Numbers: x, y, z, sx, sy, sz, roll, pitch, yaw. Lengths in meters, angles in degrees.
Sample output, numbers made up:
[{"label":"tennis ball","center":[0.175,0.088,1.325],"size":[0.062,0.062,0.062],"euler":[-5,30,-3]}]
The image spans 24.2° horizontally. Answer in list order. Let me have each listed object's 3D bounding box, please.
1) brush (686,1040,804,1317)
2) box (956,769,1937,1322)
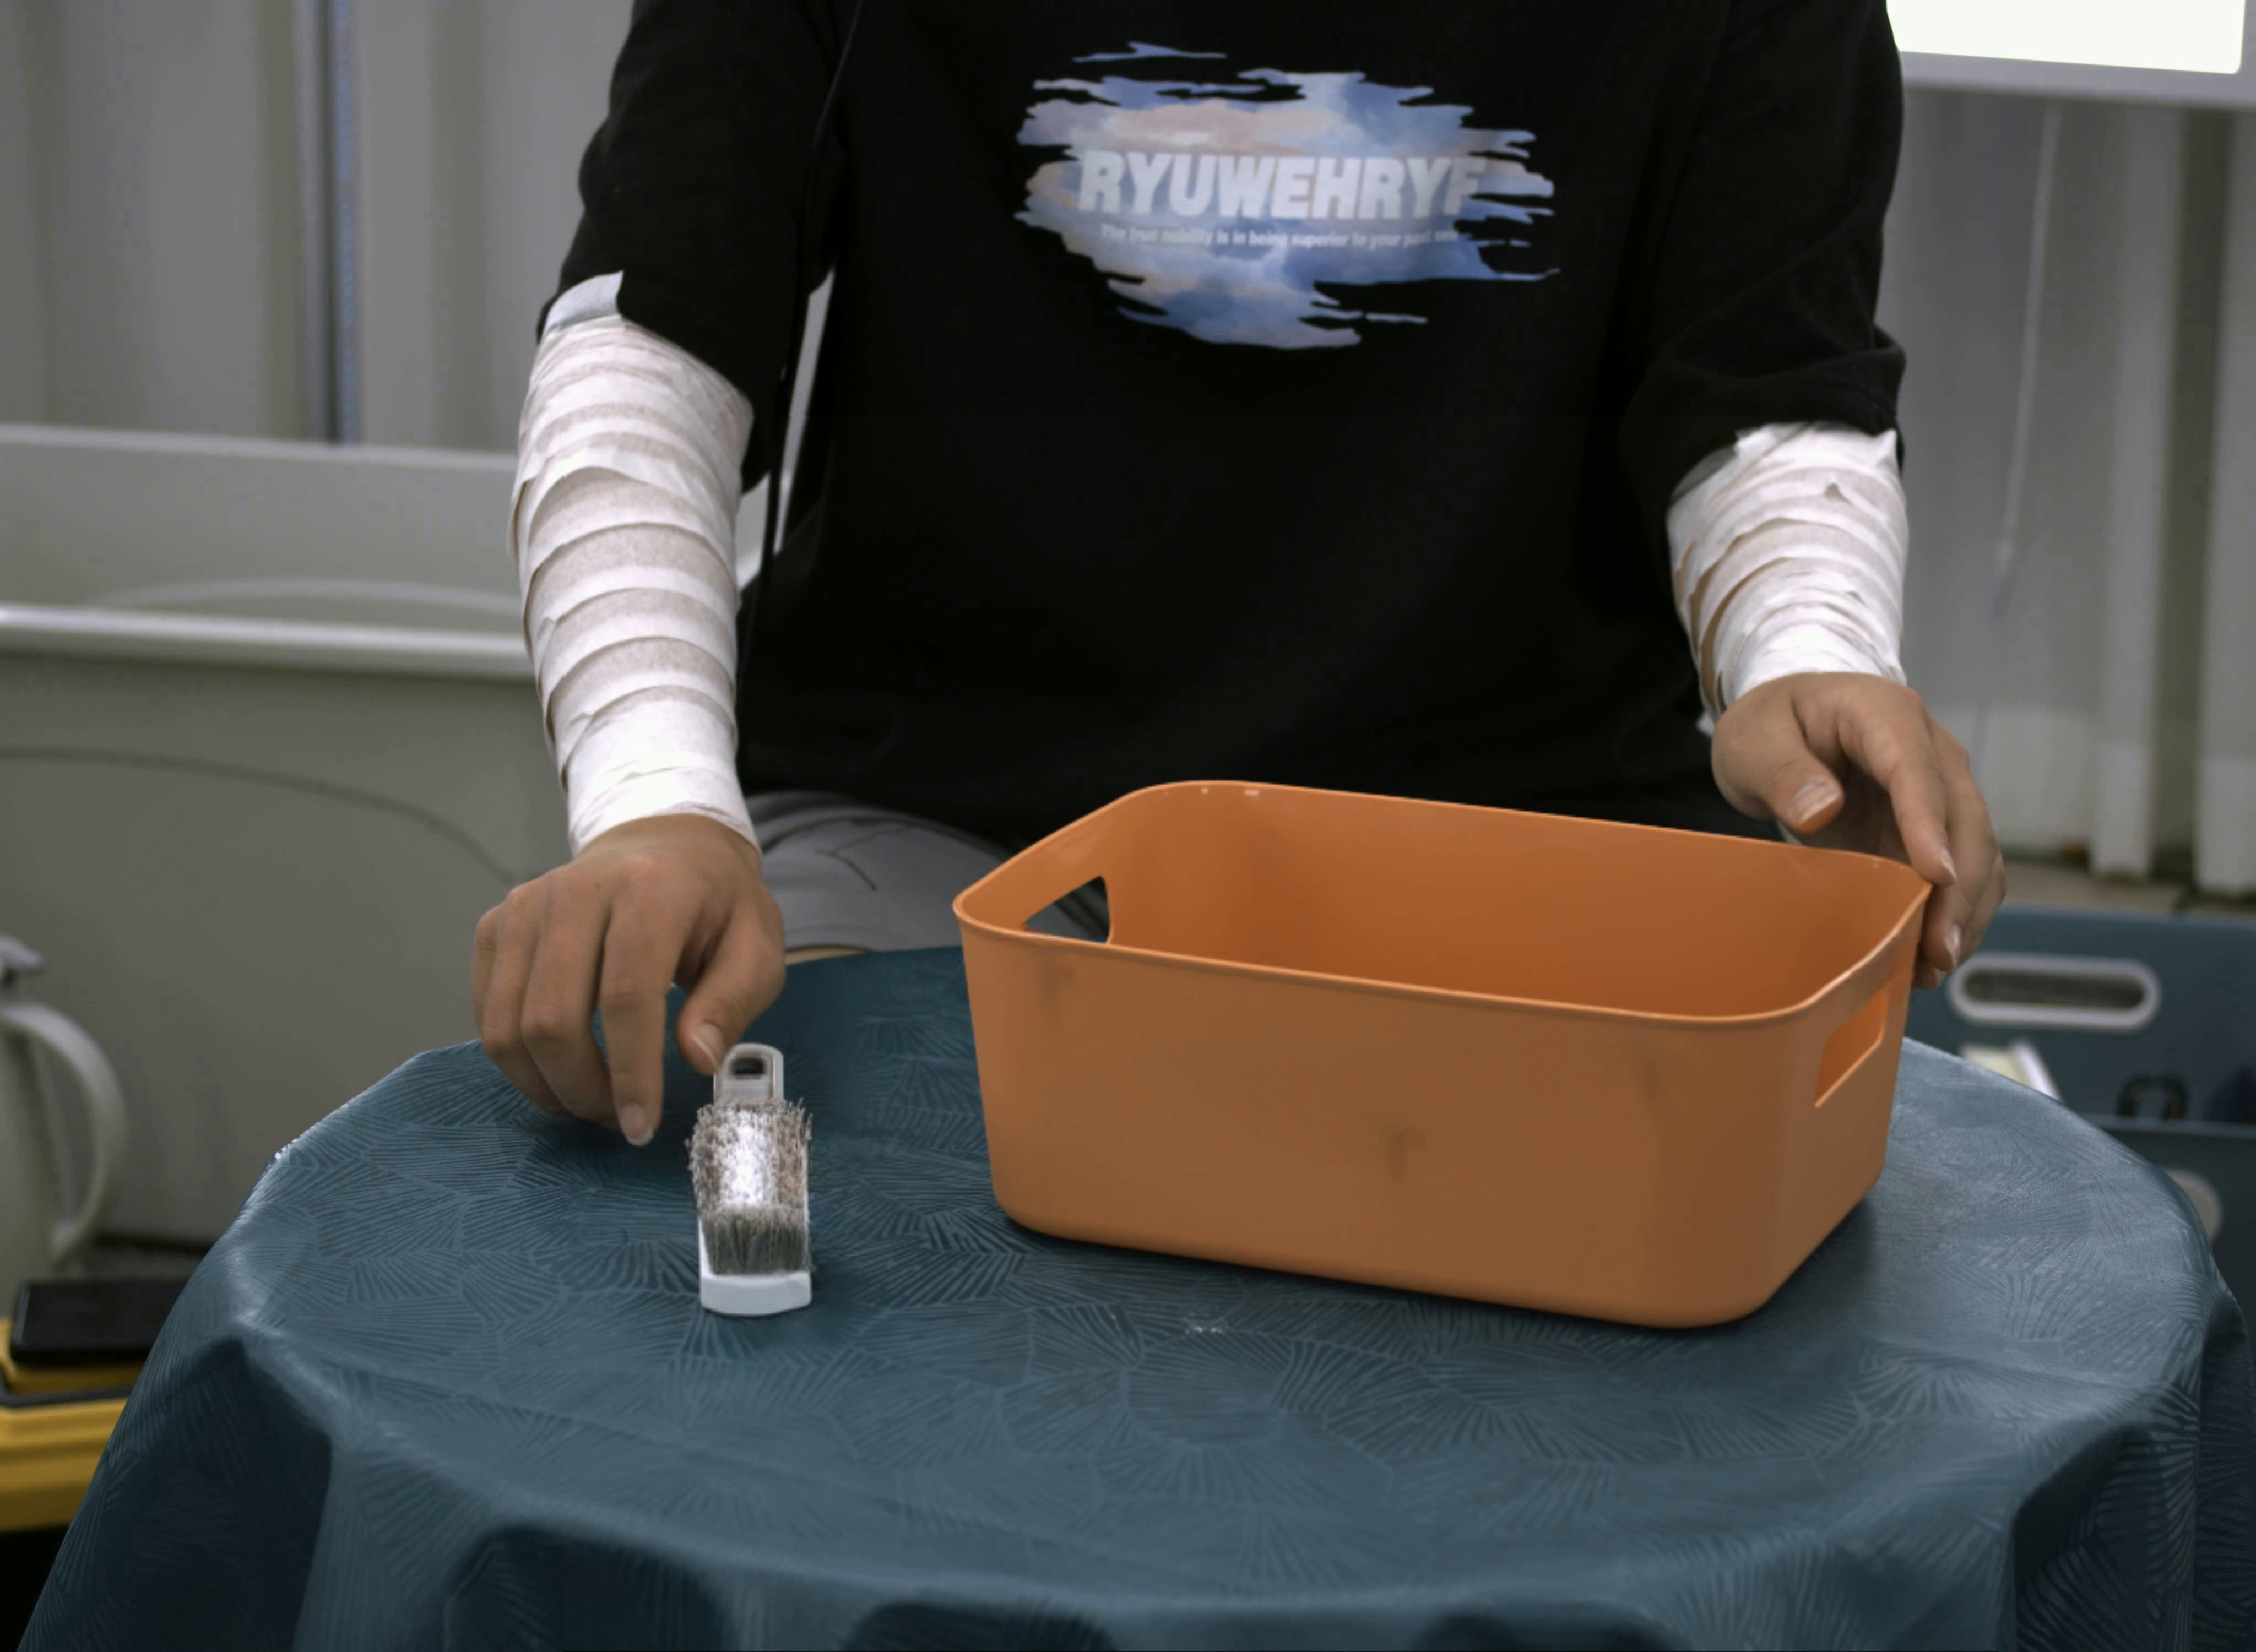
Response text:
[{"label":"brush","center":[-0.115,0.088,1.614],"size":[0.034,0.050,0.242],"euler":[0,16,-3]},{"label":"box","center":[0.097,0.064,1.601],"size":[0.270,0.103,0.199],"euler":[7,18,21]}]
